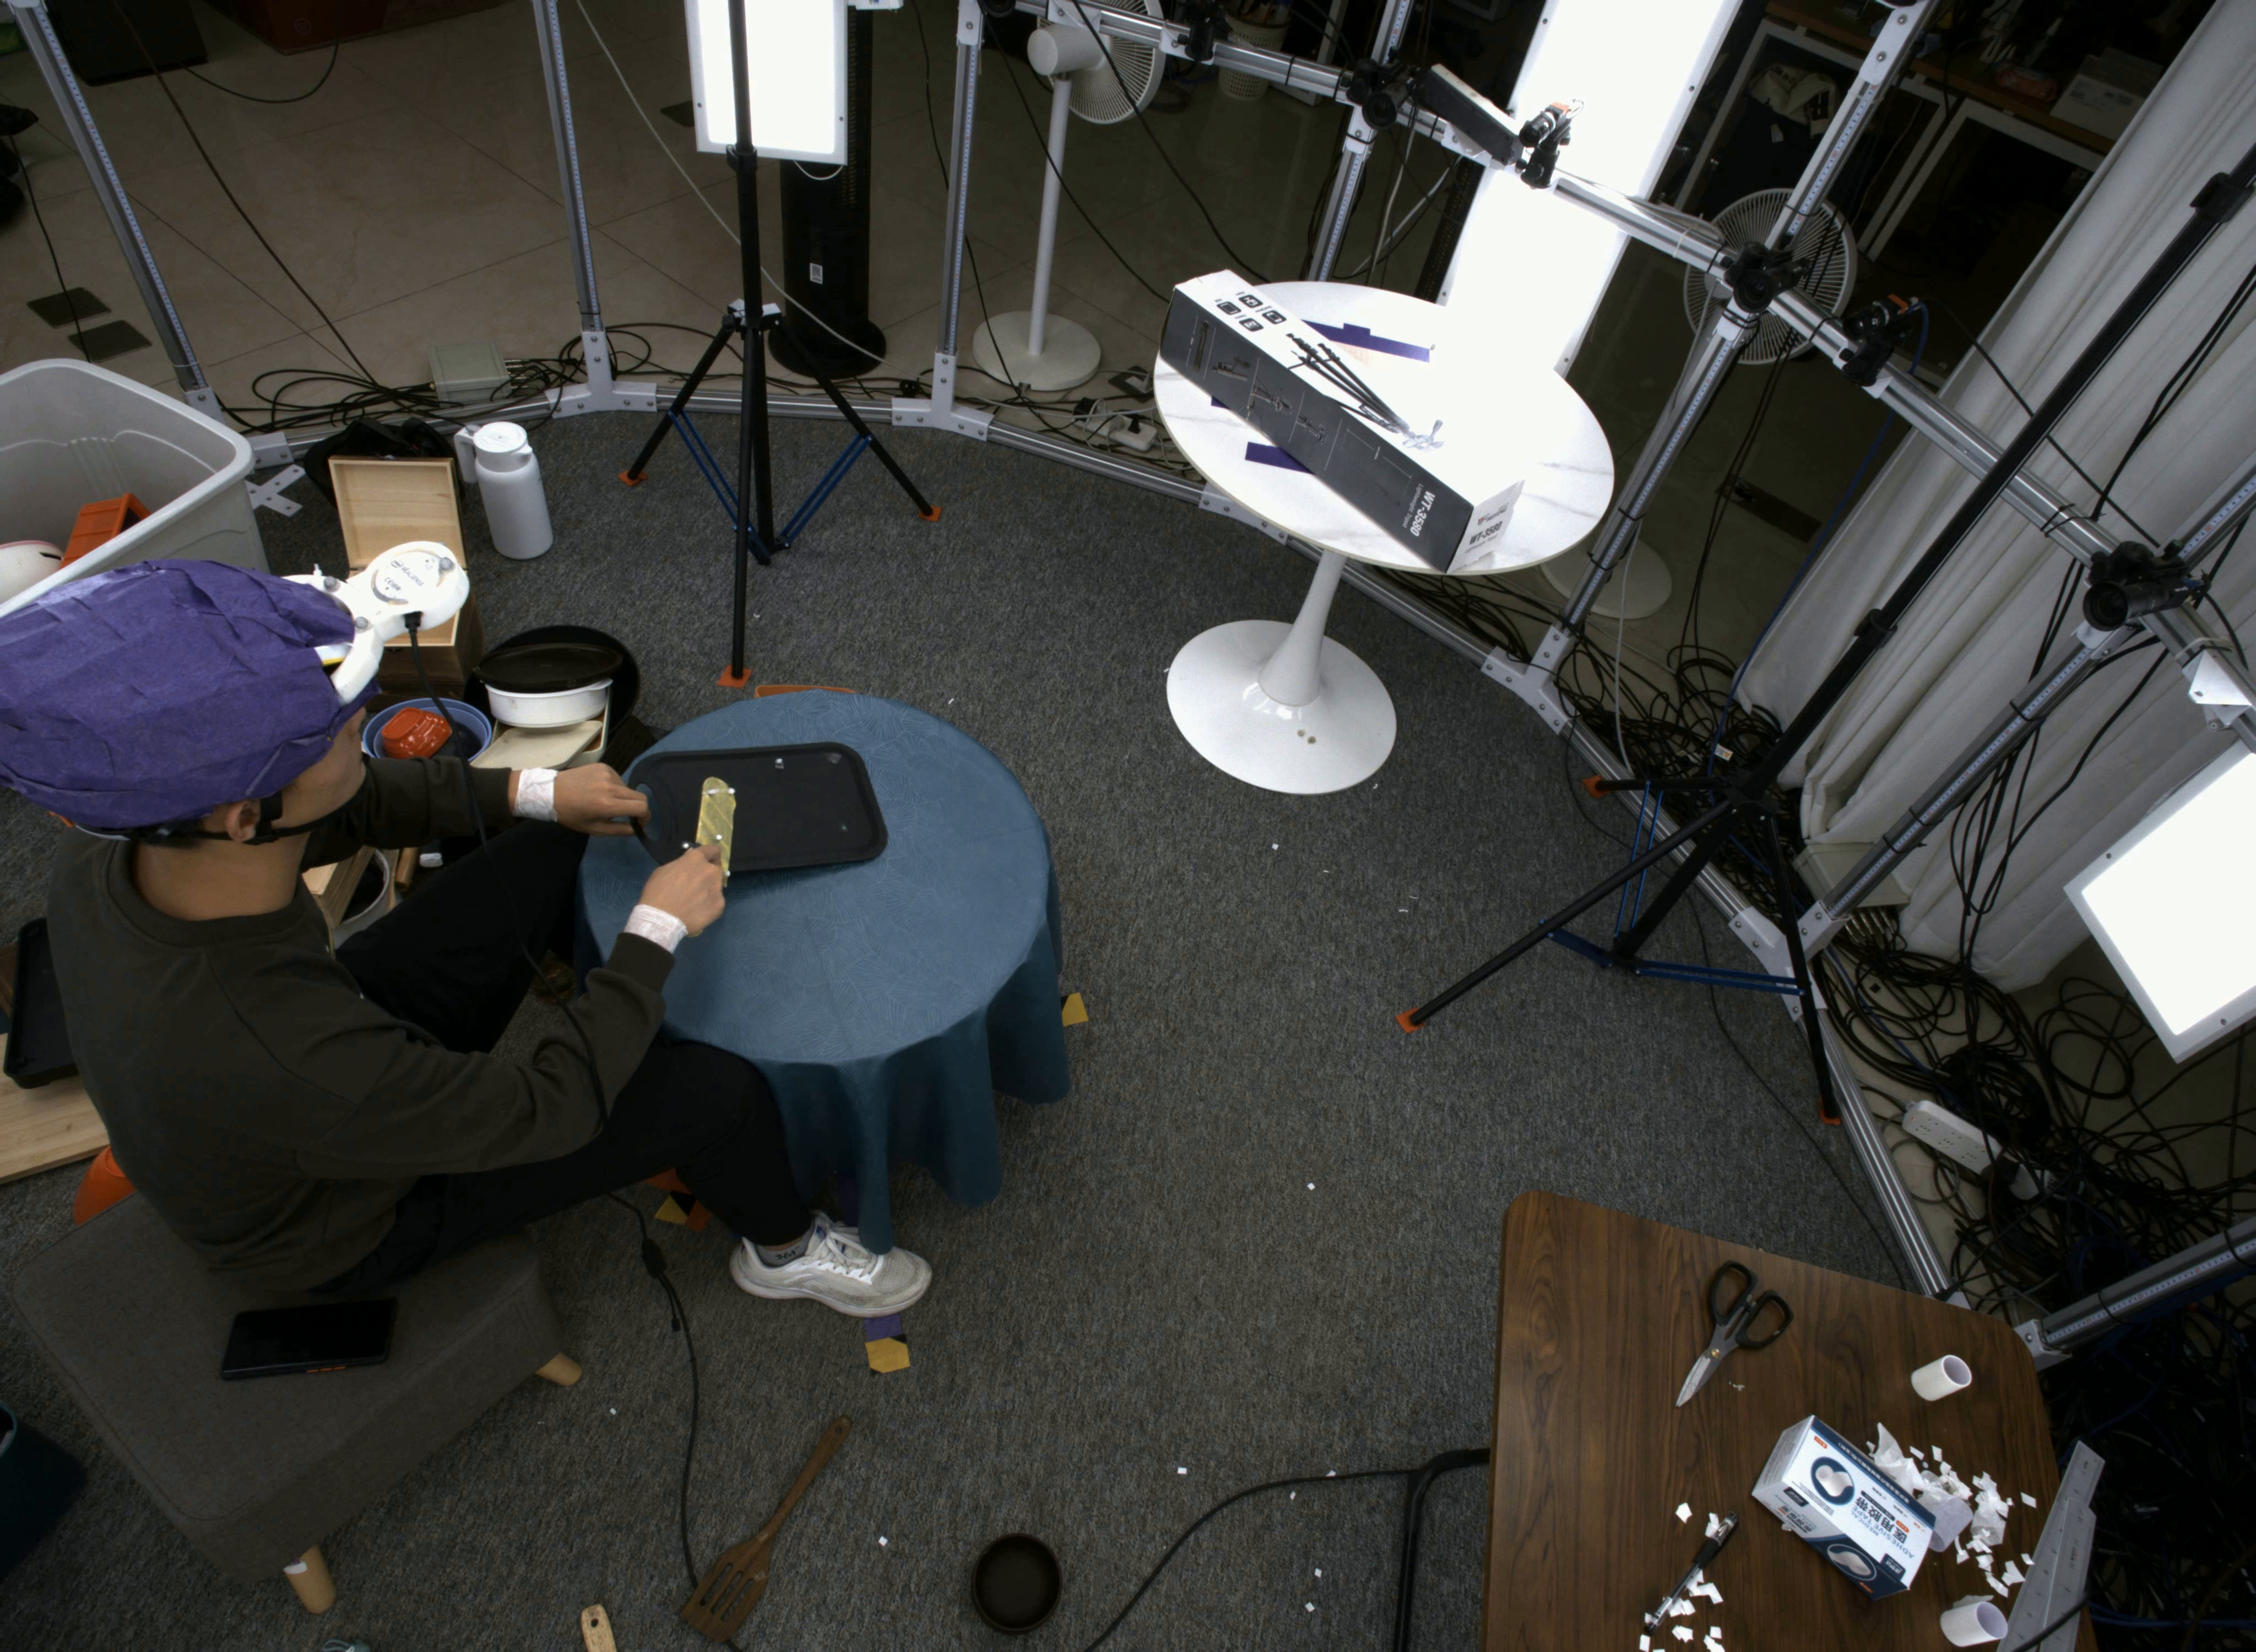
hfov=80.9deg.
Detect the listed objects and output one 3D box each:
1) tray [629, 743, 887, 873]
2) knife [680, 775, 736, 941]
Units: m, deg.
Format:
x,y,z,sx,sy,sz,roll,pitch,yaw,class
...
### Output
x,y,z,sx,sy,sz,roll,pitch,yaw,class
-0.488,-0.030,1.701,0.329,0.010,0.206,-5,54,-30,tray
-0.512,0.035,1.583,0.027,0.084,0.282,-20,42,11,knife
